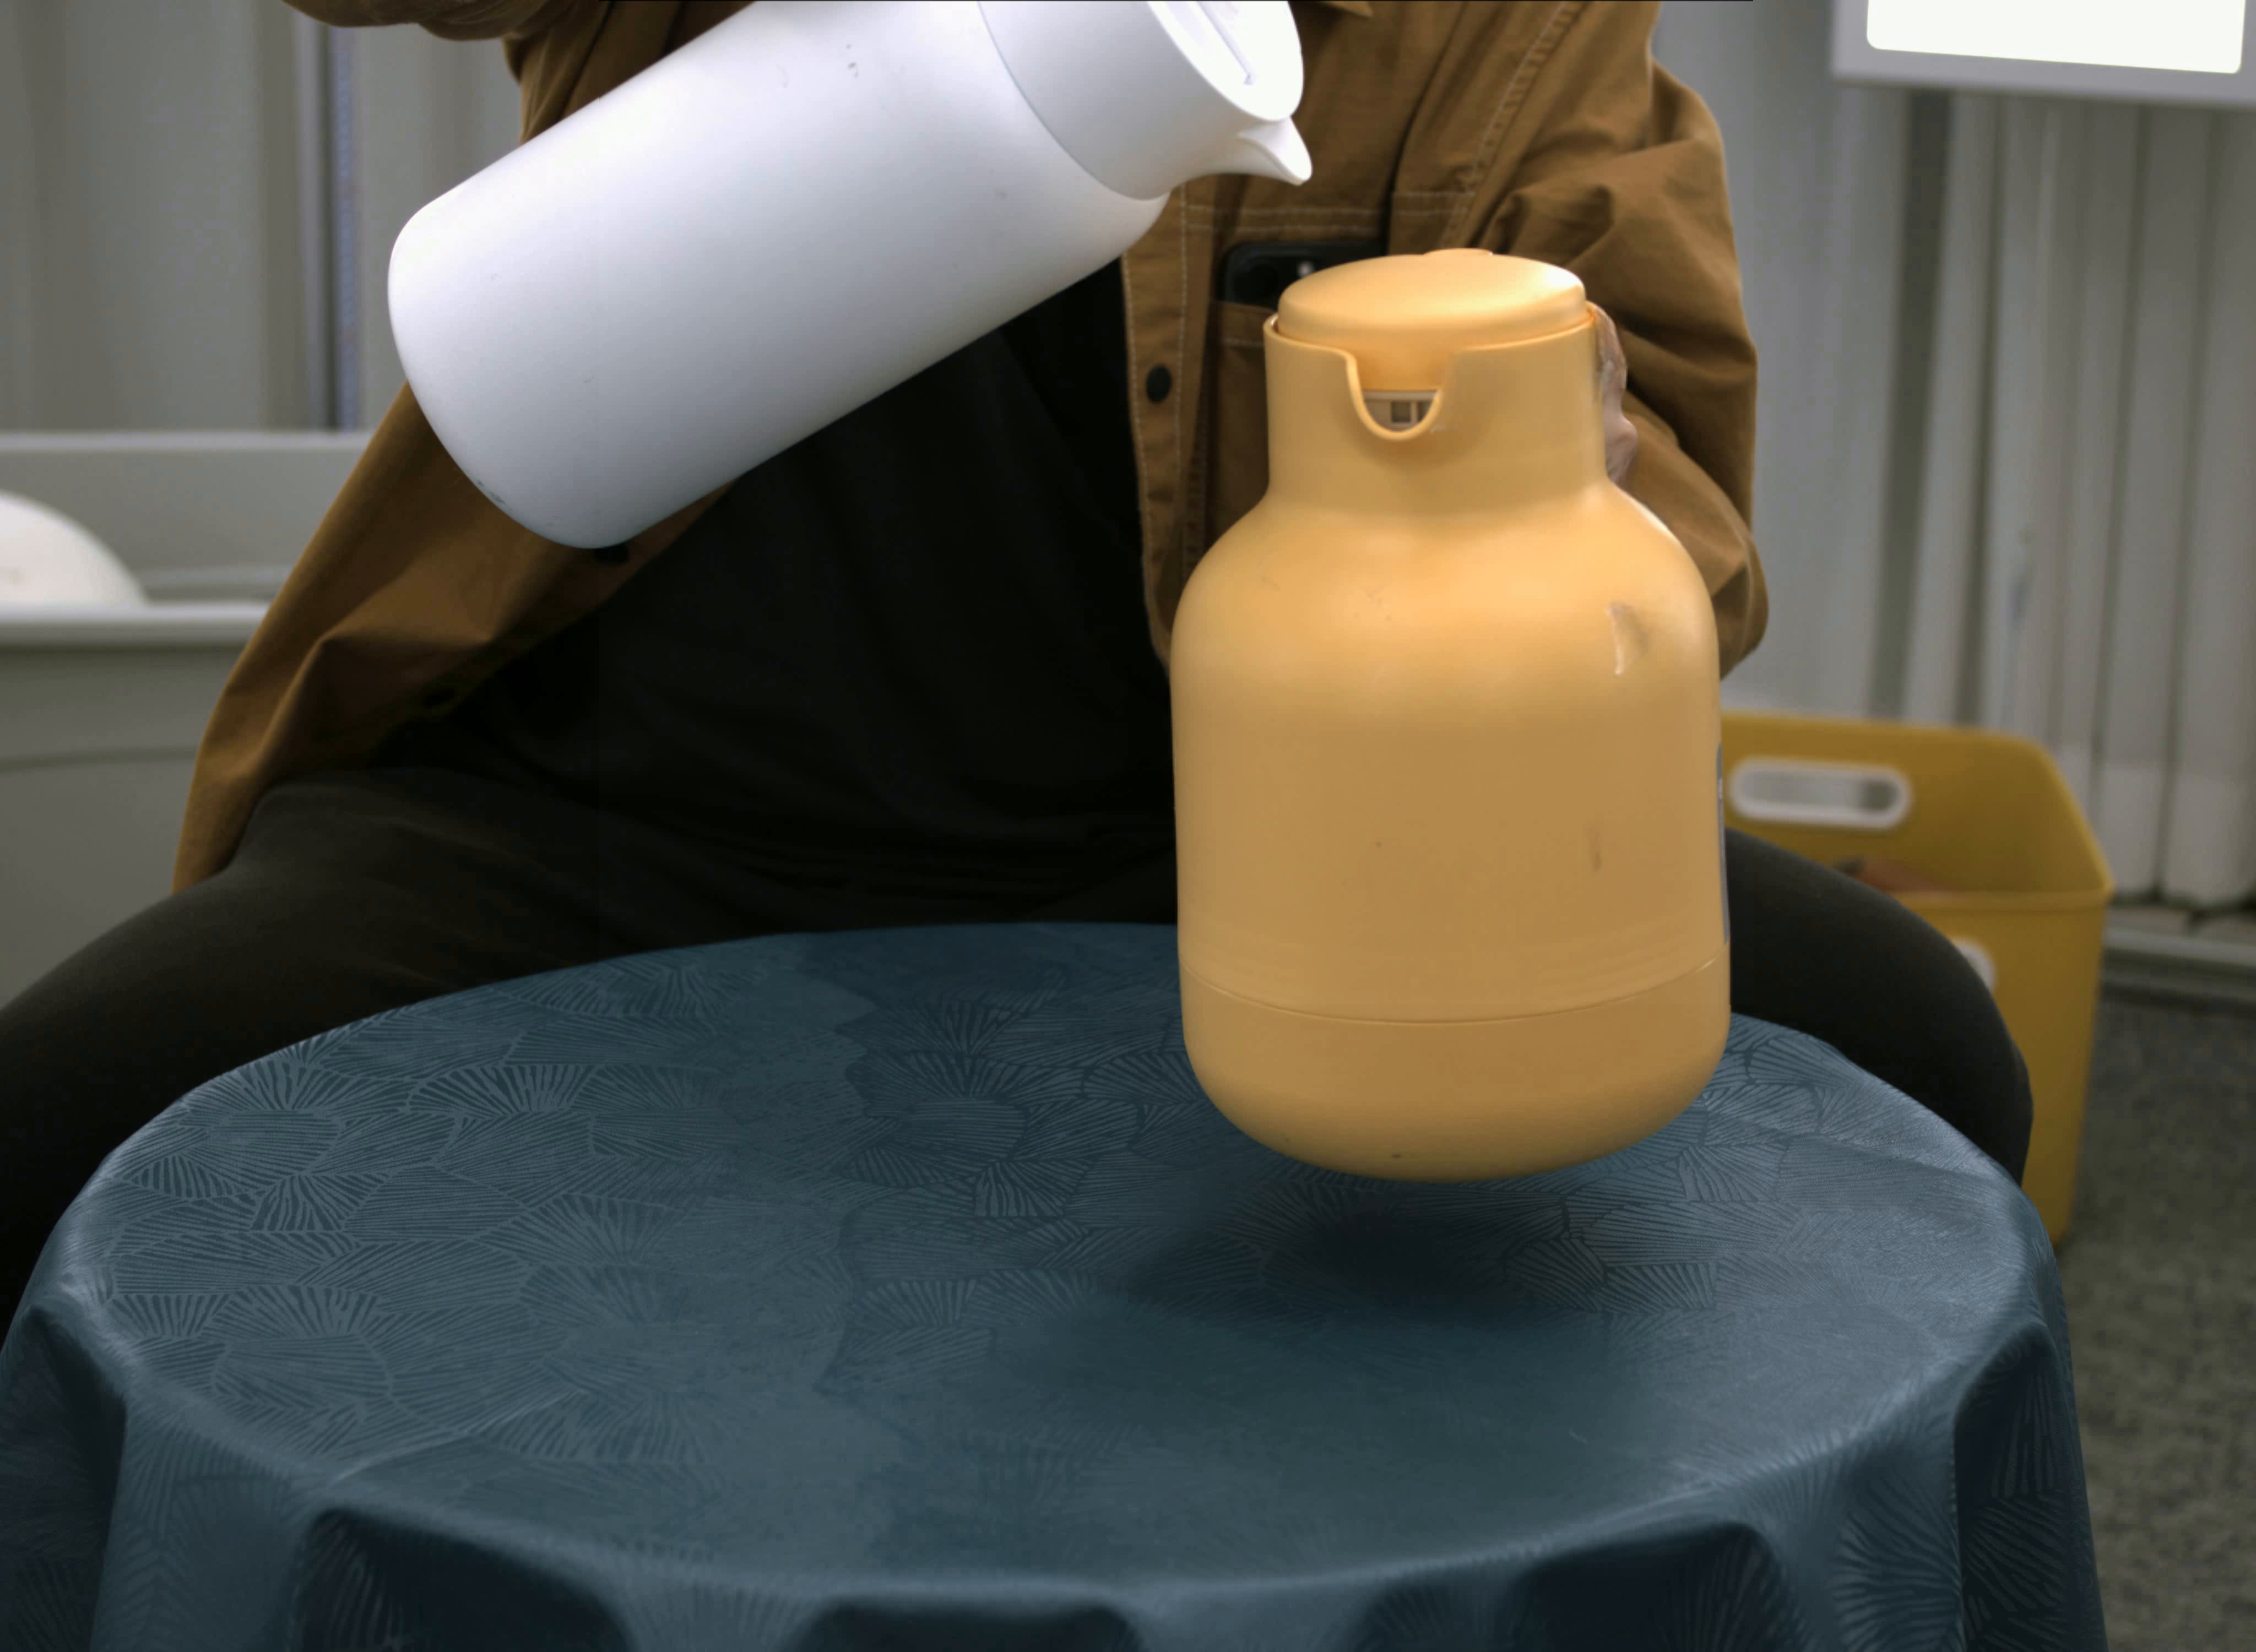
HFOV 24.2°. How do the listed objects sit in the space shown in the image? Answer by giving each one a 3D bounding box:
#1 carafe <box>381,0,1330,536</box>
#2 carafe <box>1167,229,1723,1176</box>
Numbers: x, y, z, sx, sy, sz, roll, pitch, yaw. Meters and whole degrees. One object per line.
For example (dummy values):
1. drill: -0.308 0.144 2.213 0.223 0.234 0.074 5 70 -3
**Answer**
1. carafe: -0.094 -0.204 1.522 0.267 0.174 0.123 -26 18 28
2. carafe: 0.097 -0.044 1.550 0.162 0.263 0.202 4 19 13
